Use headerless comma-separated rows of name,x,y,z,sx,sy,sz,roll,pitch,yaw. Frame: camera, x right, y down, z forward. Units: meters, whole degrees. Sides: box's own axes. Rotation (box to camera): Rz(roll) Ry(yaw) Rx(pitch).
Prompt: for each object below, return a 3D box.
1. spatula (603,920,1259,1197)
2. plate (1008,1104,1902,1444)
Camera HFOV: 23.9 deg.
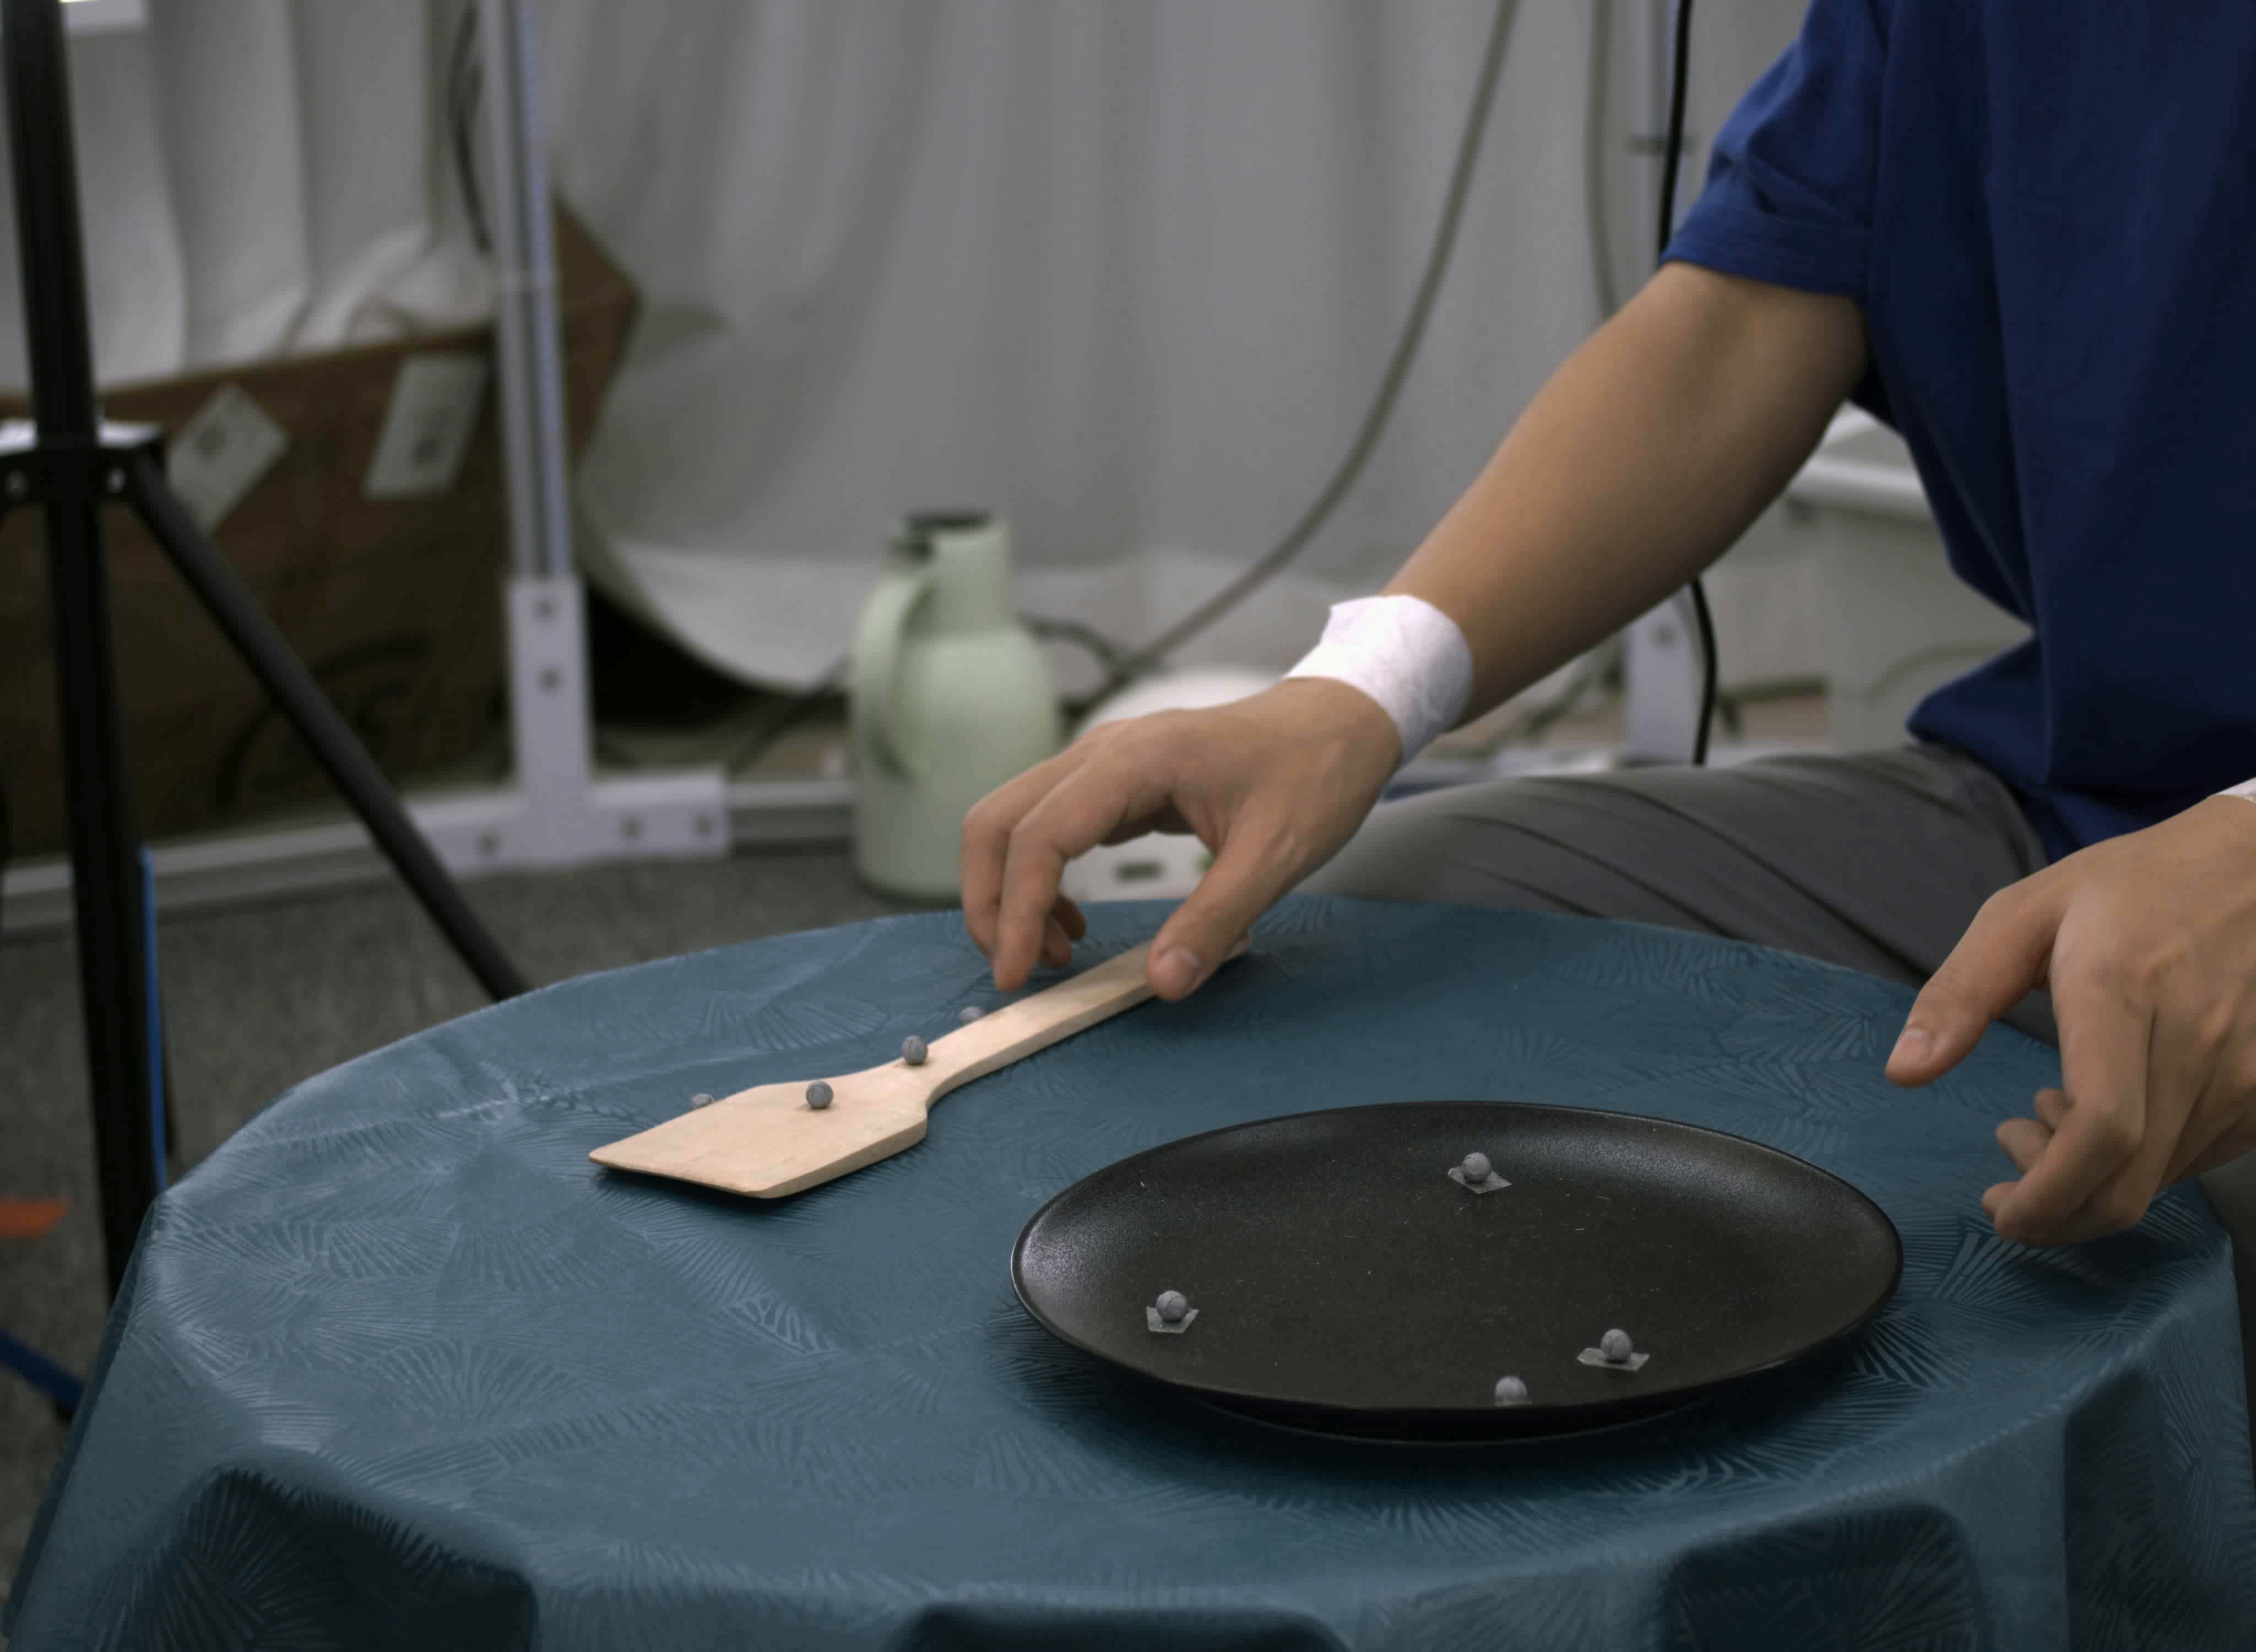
spatula,-0.049,0.070,1.682,0.074,0.010,0.287,7,19,36
plate,0.089,0.124,1.444,0.243,0.023,0.245,-3,16,-1
